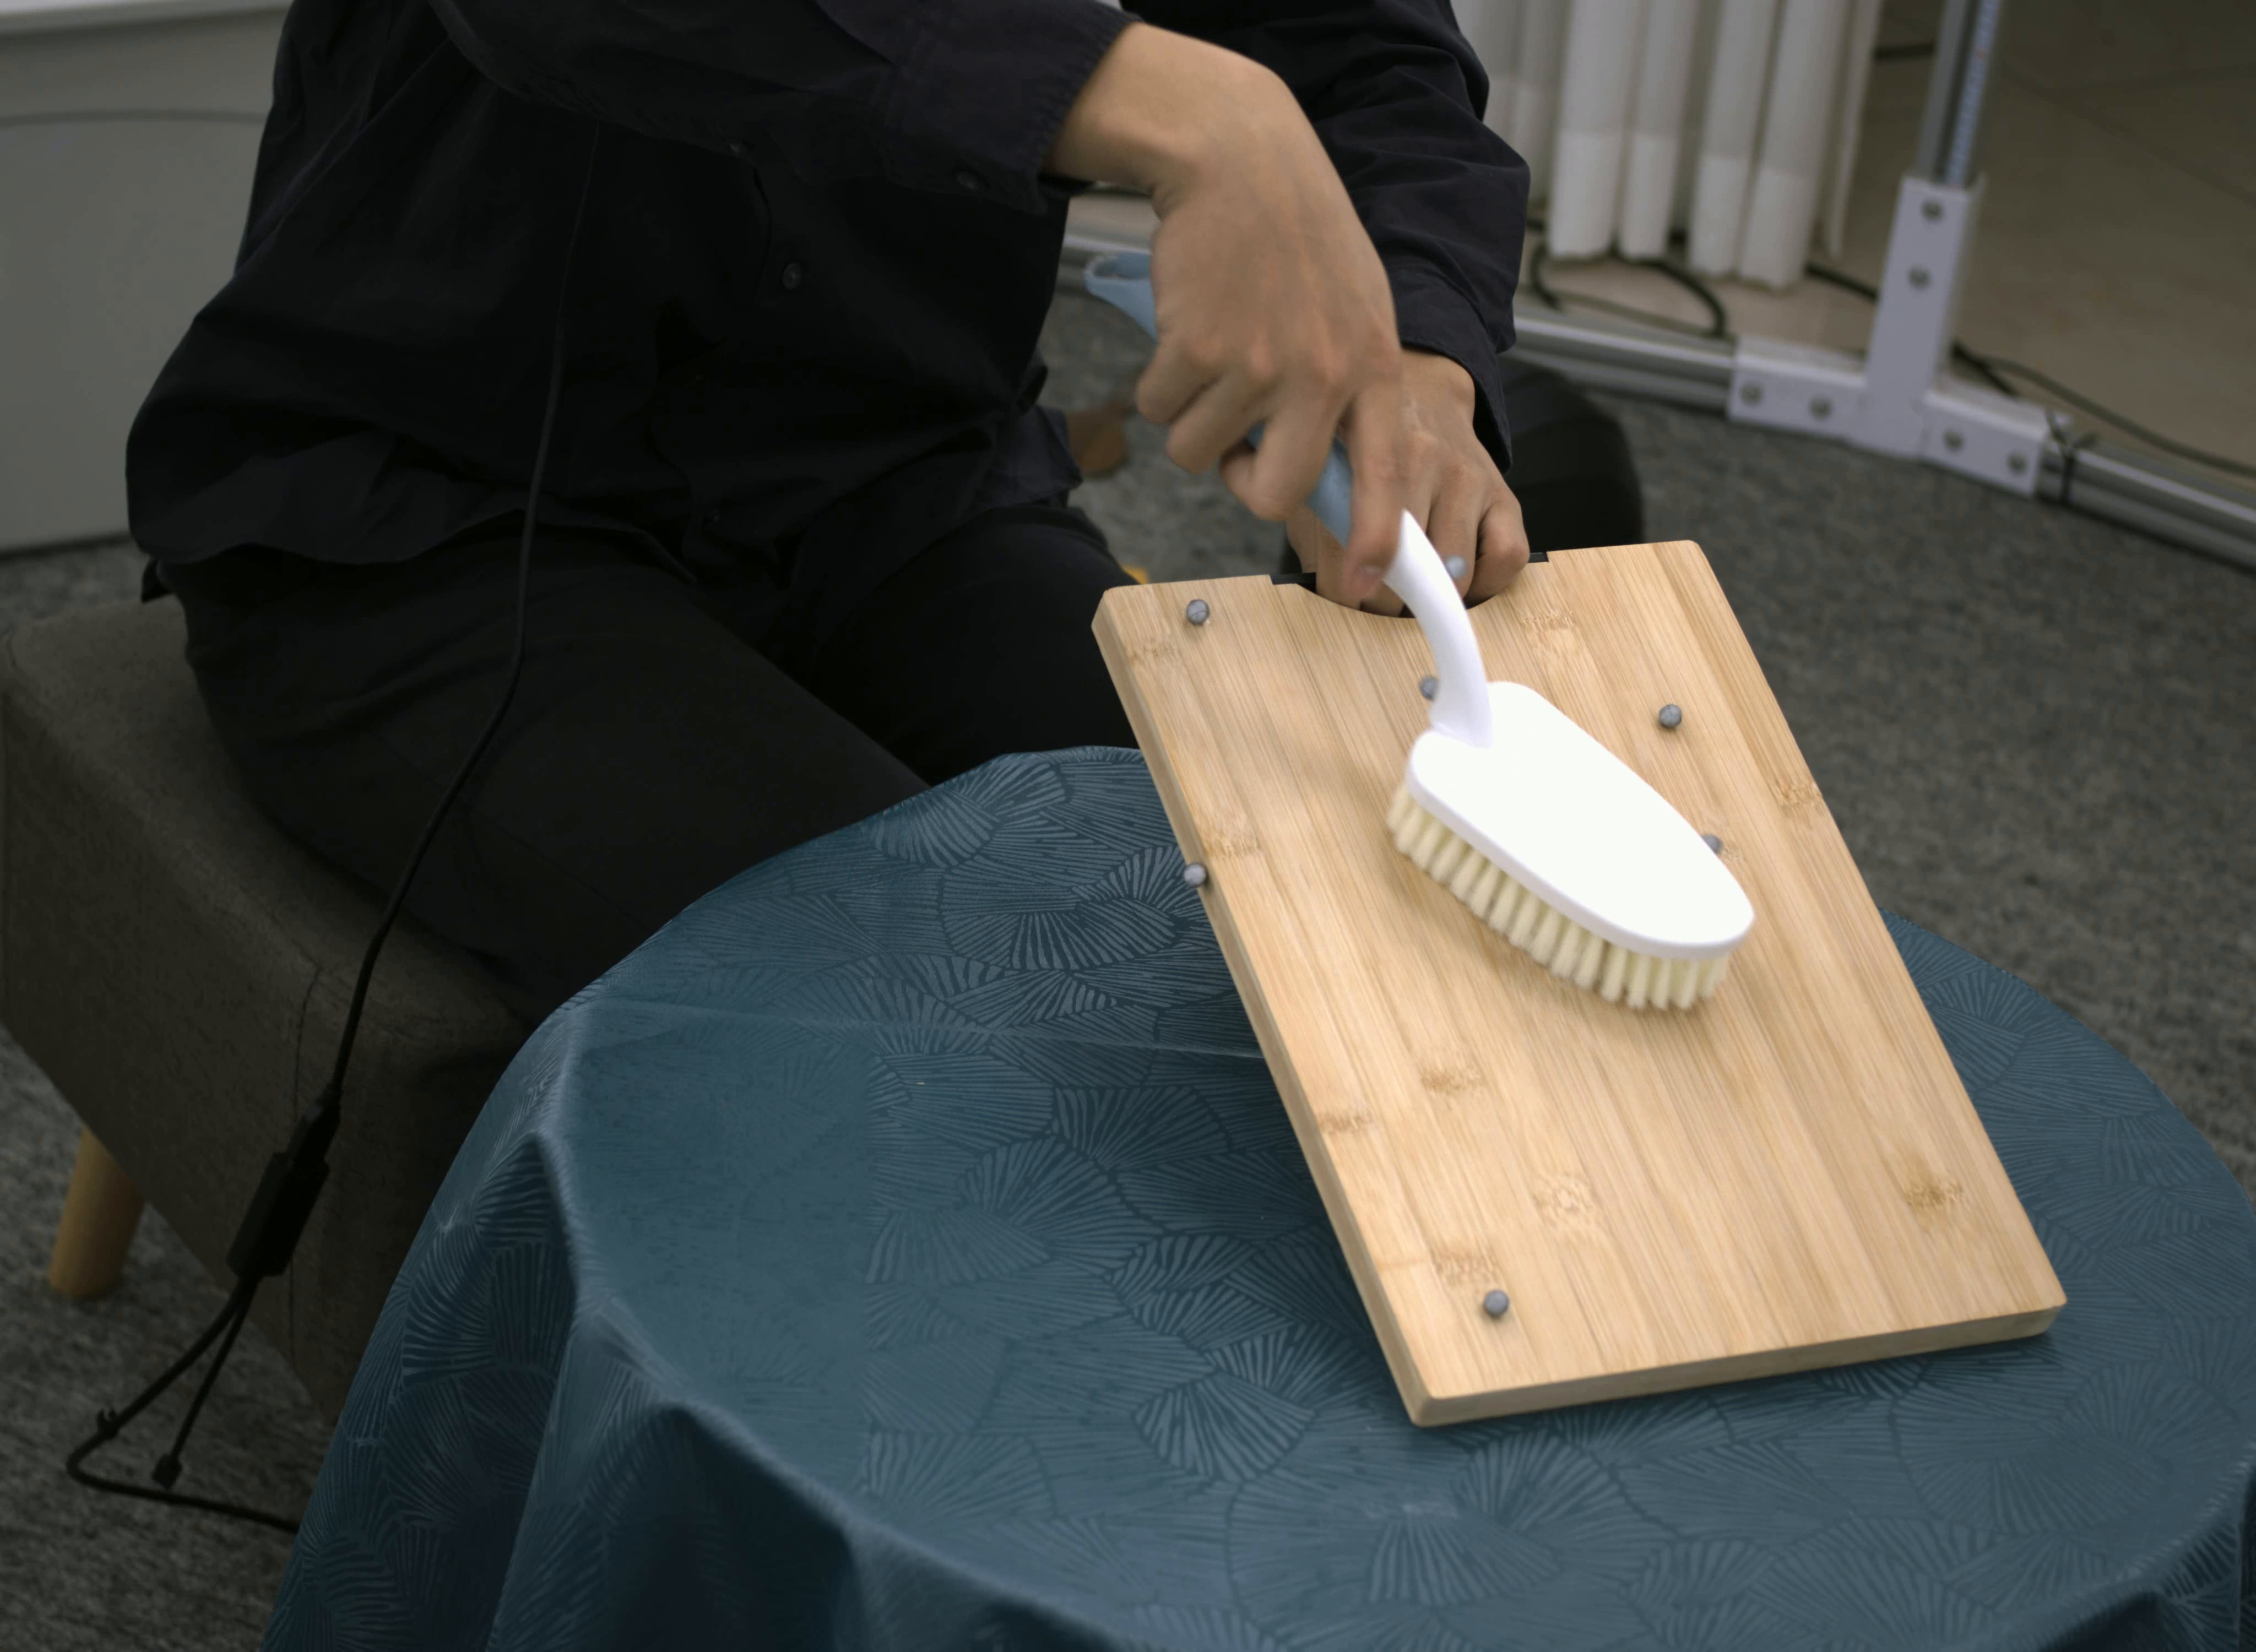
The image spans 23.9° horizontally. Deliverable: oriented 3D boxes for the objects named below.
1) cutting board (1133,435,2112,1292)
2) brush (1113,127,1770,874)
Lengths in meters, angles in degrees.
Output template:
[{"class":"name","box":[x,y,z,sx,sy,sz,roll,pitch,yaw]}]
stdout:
[{"class":"cutting board","box":[0.166,0.005,1.848,0.249,0.023,0.352,-7,53,-24]},{"class":"brush","box":[0.098,-0.108,1.851,0.326,0.084,0.083,48,15,6]}]
